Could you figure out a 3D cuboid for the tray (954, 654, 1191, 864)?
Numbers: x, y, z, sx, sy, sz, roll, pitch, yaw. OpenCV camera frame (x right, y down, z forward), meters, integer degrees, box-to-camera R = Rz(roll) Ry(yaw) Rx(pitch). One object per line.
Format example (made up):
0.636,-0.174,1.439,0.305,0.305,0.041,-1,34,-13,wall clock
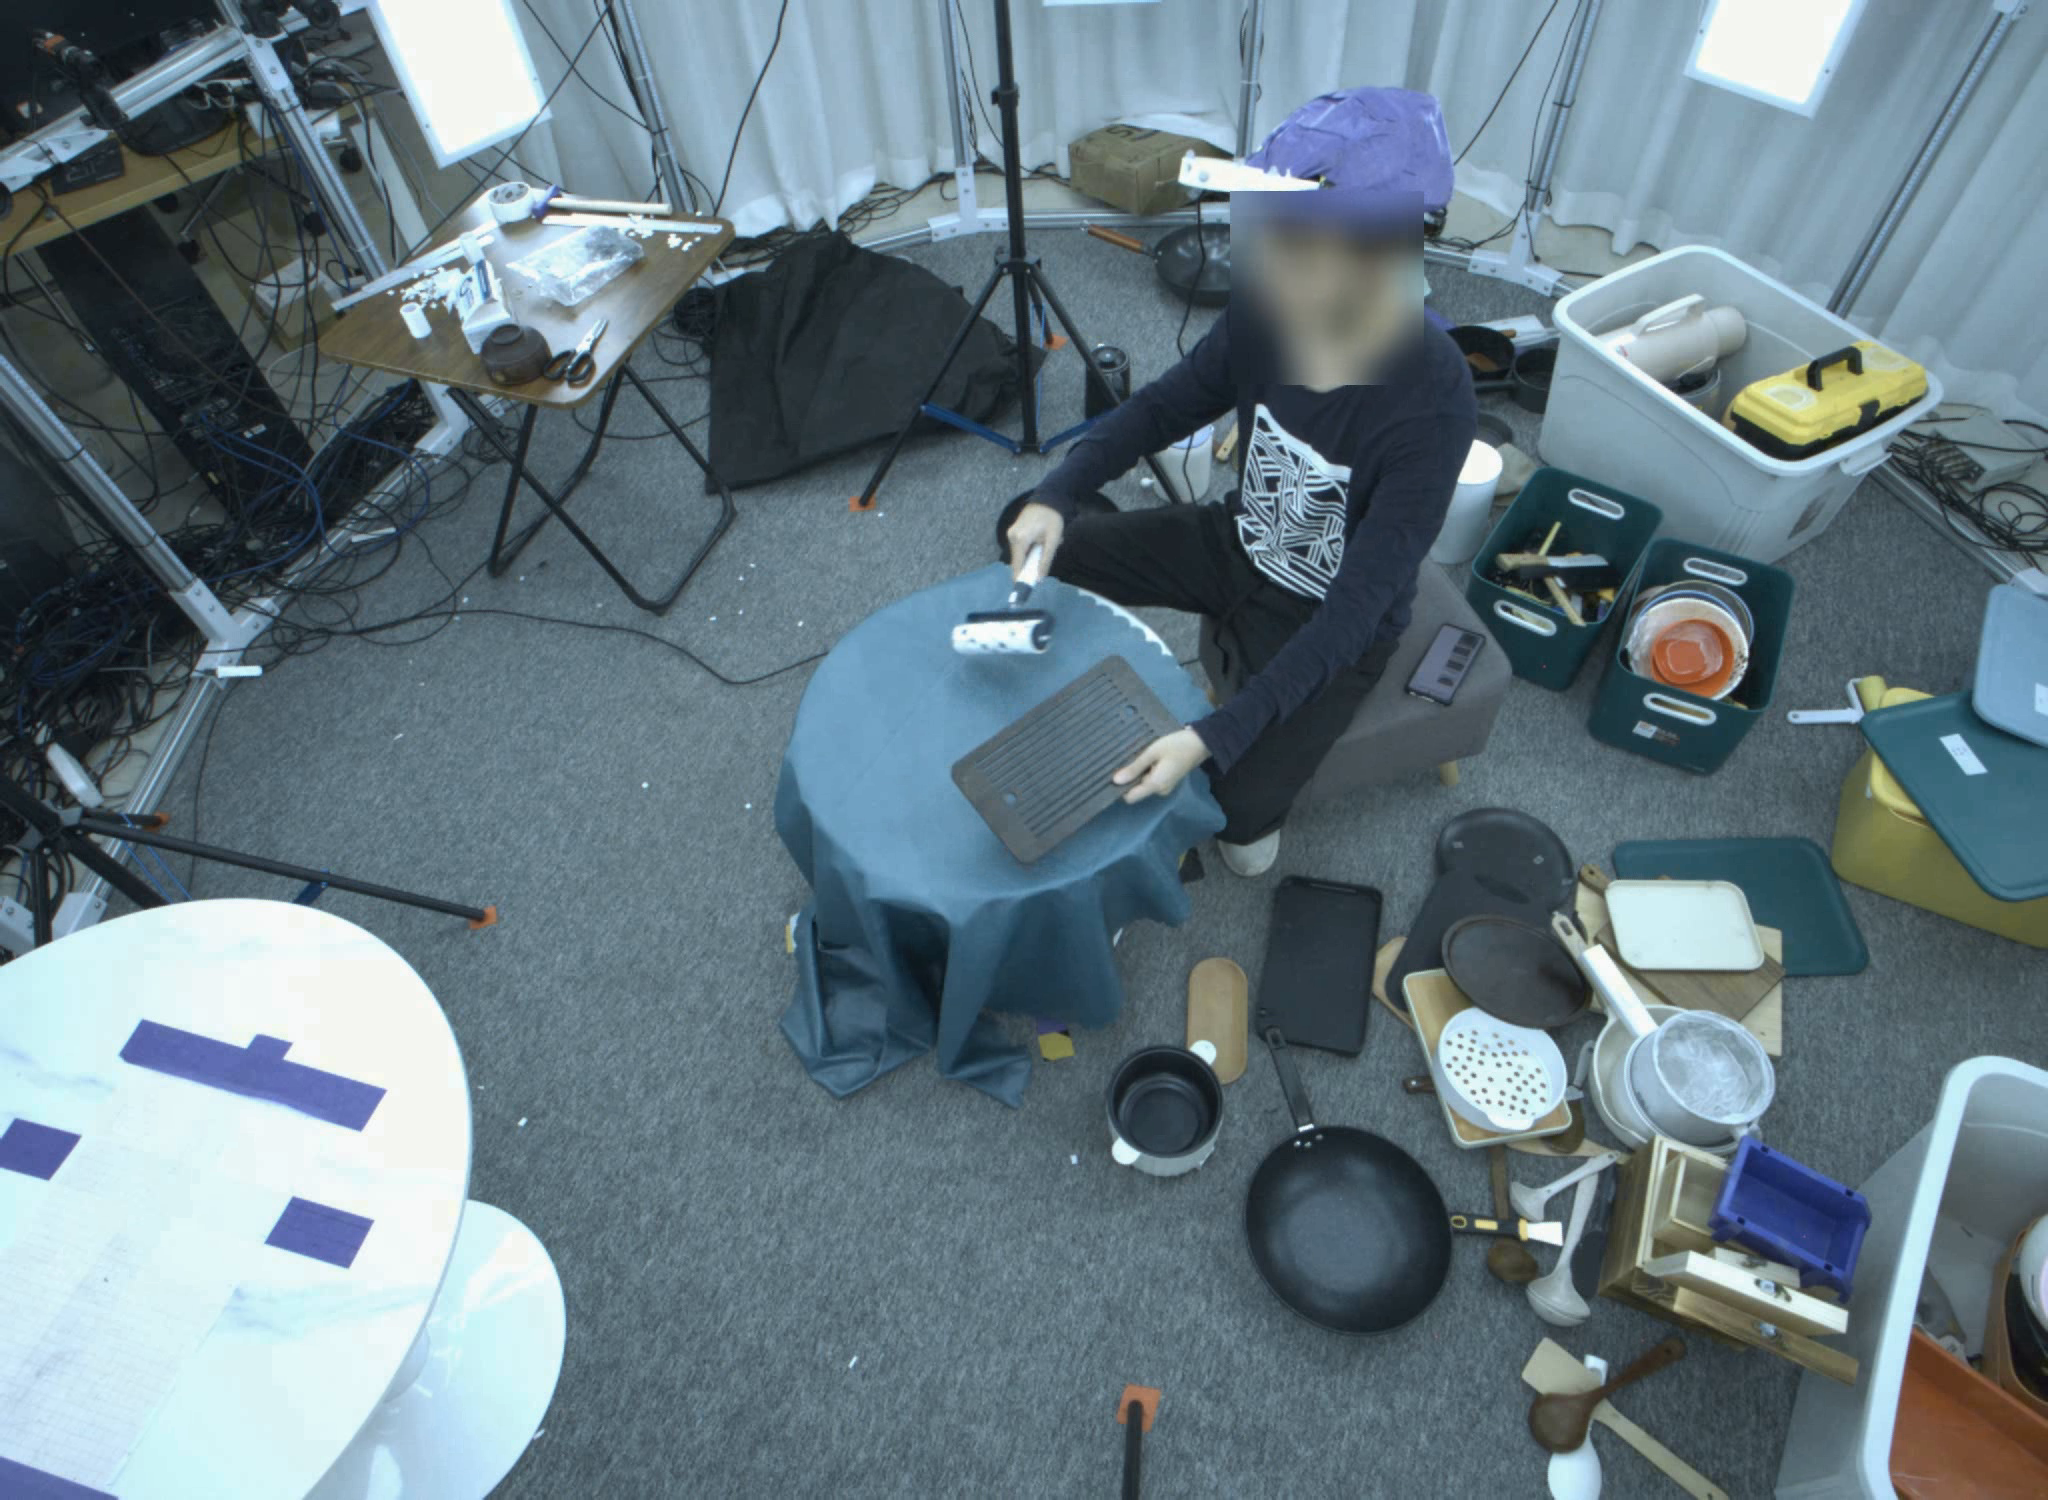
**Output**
0.069,0.009,1.676,0.308,0.018,0.169,-35,82,-21,tray

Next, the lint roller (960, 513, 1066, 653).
0.008,-0.256,1.832,0.172,0.051,0.246,1,64,42,lint roller
